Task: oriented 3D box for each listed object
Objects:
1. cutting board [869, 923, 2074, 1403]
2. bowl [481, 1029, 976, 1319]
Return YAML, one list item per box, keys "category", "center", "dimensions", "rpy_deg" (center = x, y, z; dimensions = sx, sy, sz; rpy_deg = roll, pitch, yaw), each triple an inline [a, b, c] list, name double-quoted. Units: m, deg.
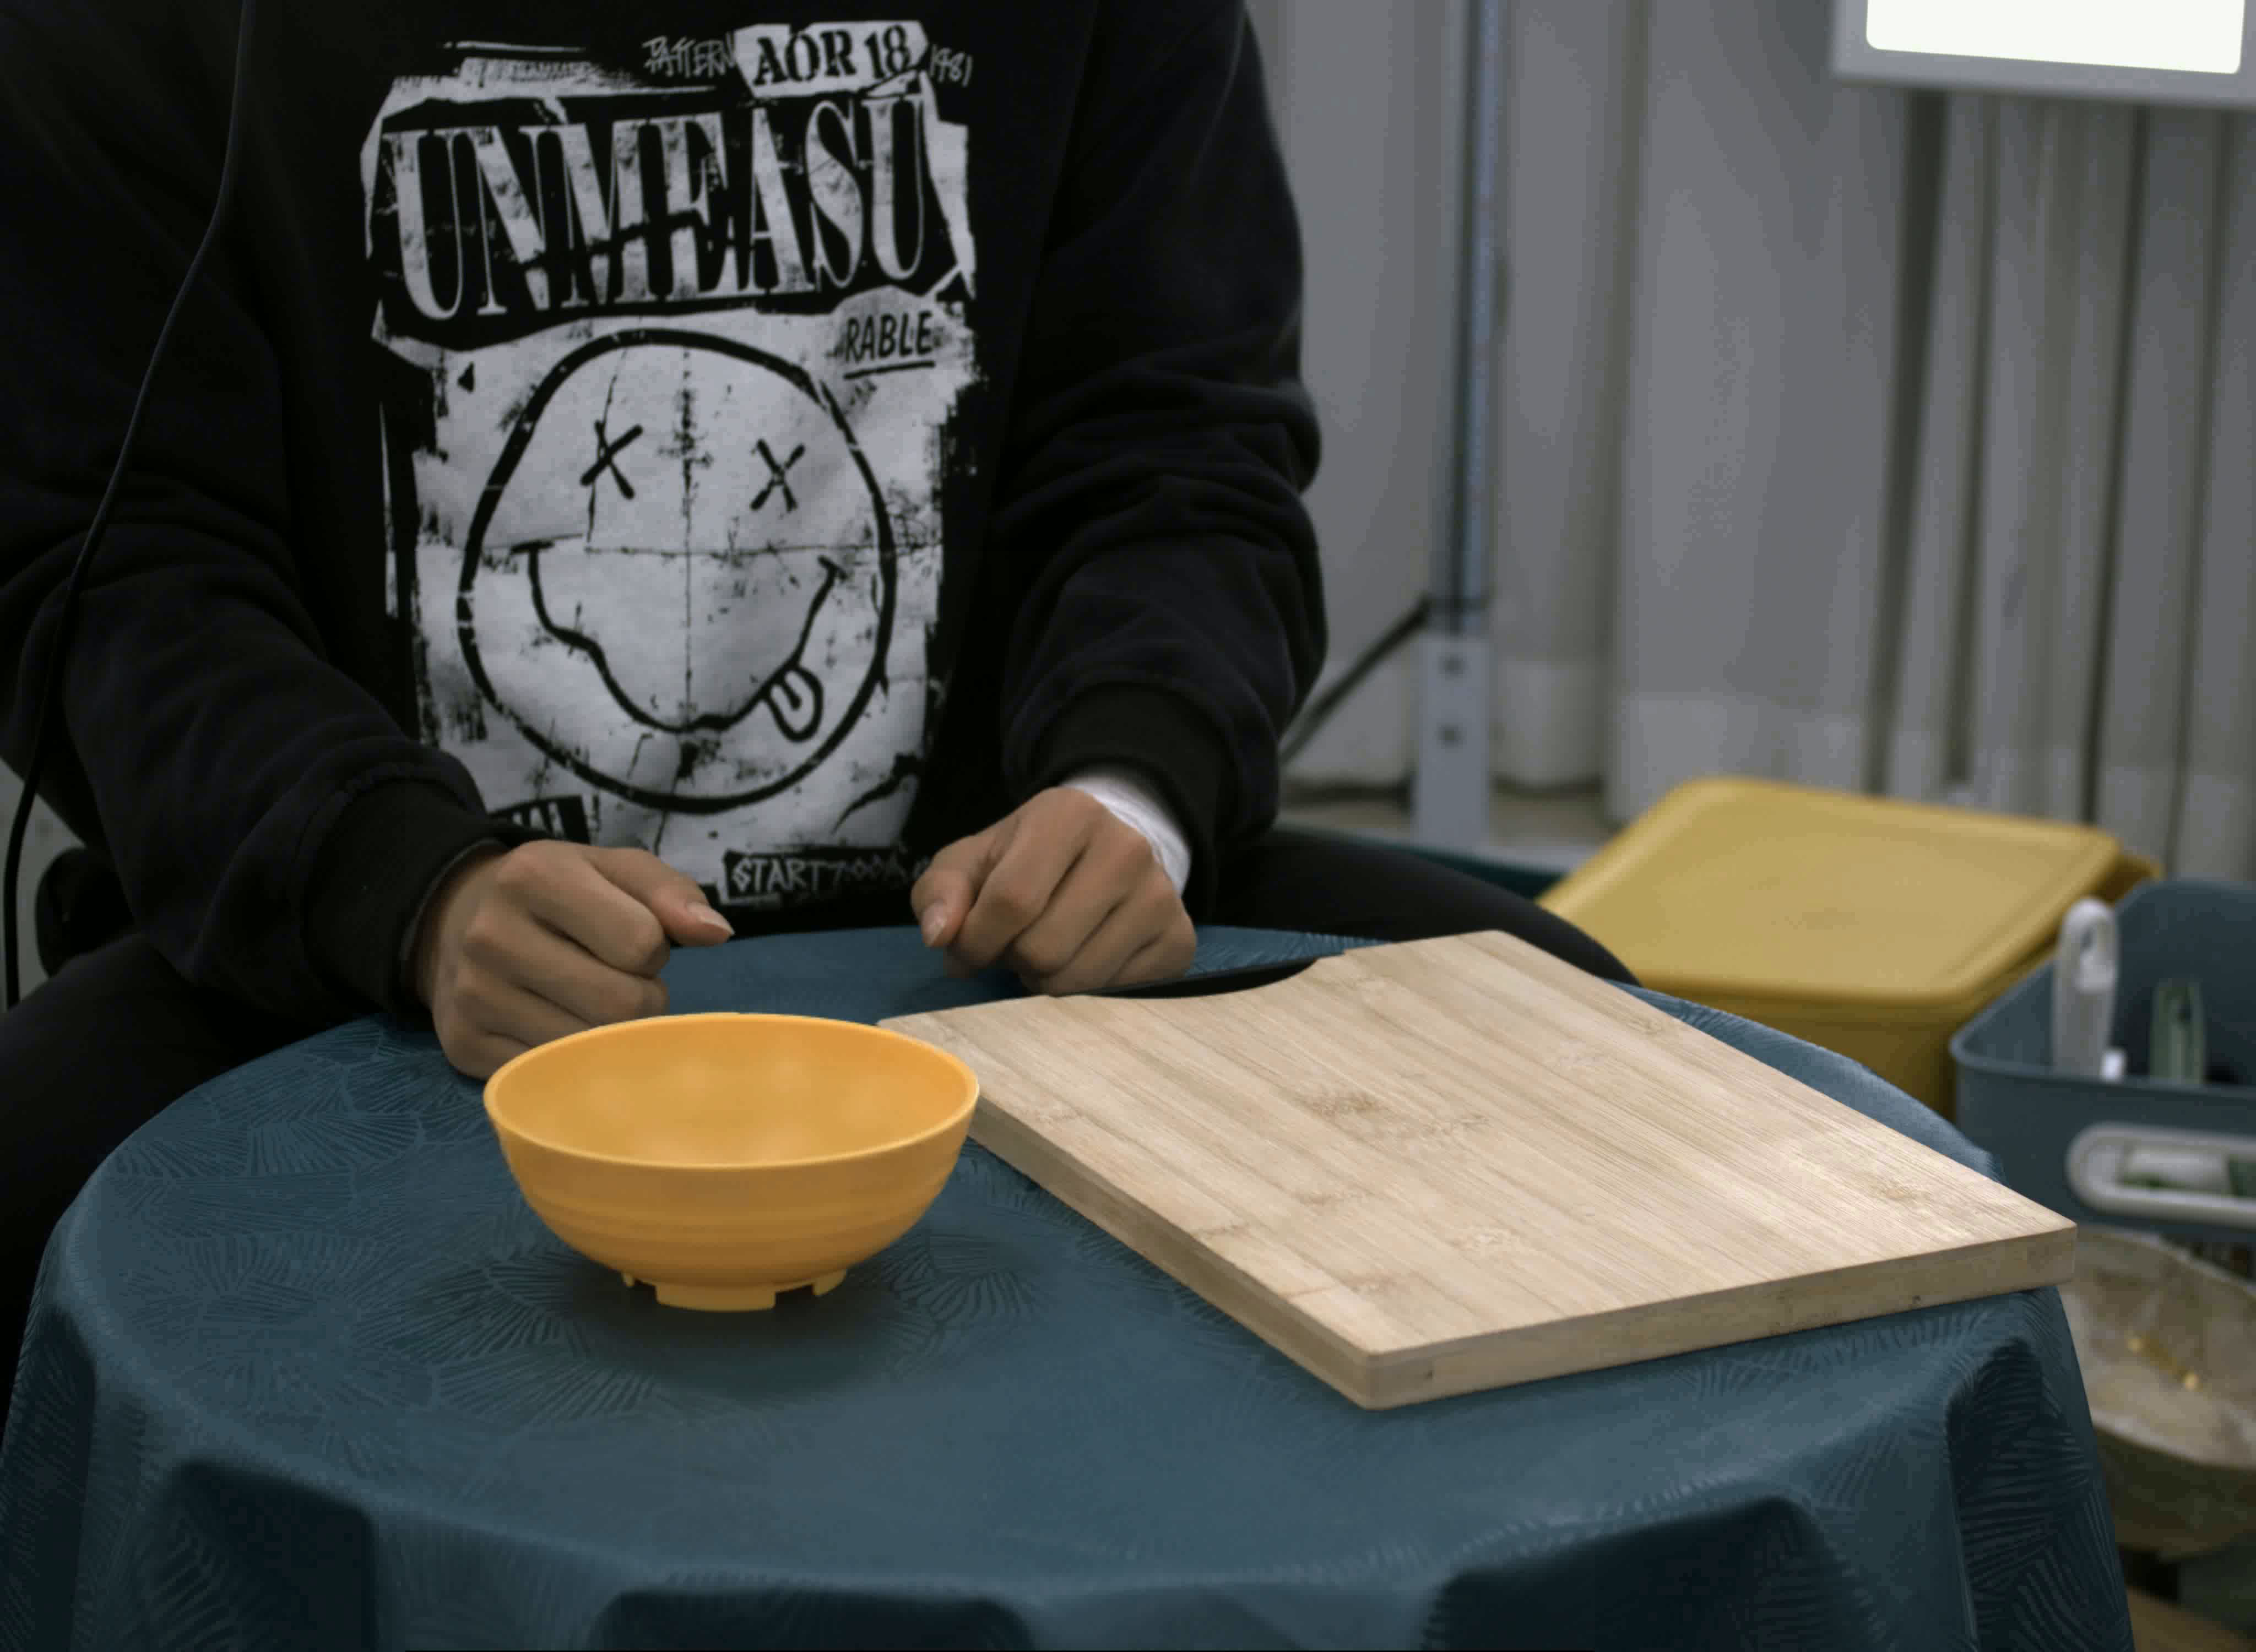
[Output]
- category: "cutting board"
  center: [0.097, 0.098, 1.651]
  dimensions: [0.252, 0.024, 0.344]
  rpy_deg: [-7, 18, -27]
- category: "bowl"
  center: [-0.117, 0.106, 1.543]
  dimensions: [0.145, 0.060, 0.144]
  rpy_deg: [2, 13, 0]
